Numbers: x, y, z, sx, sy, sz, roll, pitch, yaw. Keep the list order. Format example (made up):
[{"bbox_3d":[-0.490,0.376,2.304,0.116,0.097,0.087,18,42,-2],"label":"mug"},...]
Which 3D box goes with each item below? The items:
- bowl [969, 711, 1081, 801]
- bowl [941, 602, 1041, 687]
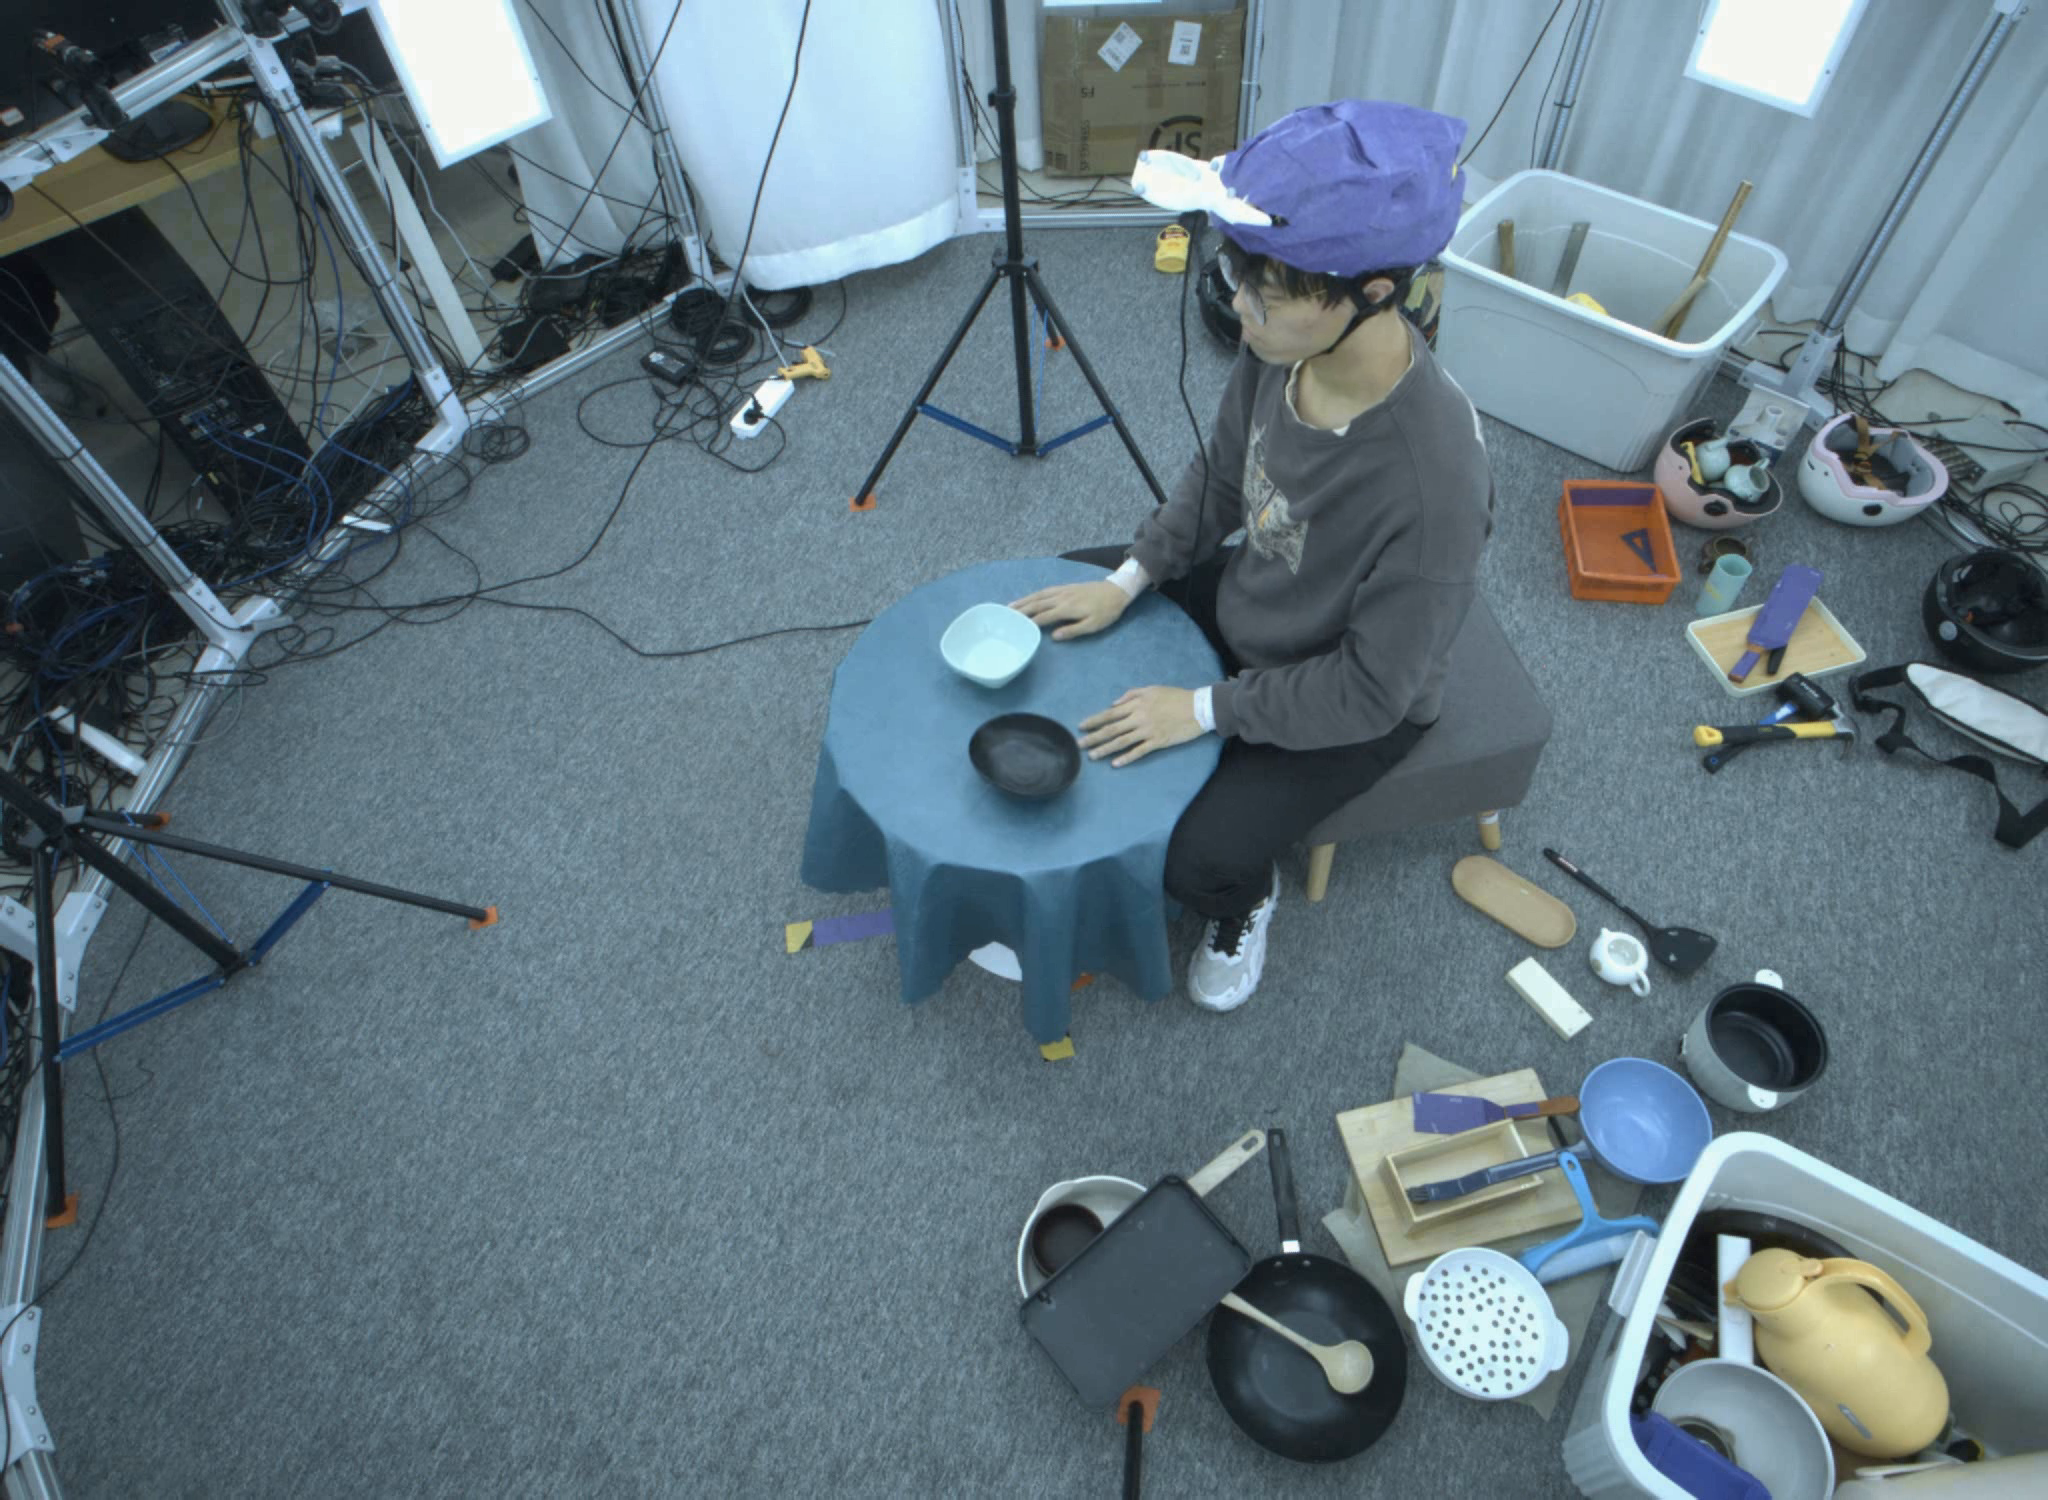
[{"bbox_3d":[0.001,0.019,1.732,0.167,0.067,0.138,26,59,21],"label":"bowl"},{"bbox_3d":[-0.048,-0.150,1.858,0.151,0.059,0.150,-2,56,4],"label":"bowl"}]
